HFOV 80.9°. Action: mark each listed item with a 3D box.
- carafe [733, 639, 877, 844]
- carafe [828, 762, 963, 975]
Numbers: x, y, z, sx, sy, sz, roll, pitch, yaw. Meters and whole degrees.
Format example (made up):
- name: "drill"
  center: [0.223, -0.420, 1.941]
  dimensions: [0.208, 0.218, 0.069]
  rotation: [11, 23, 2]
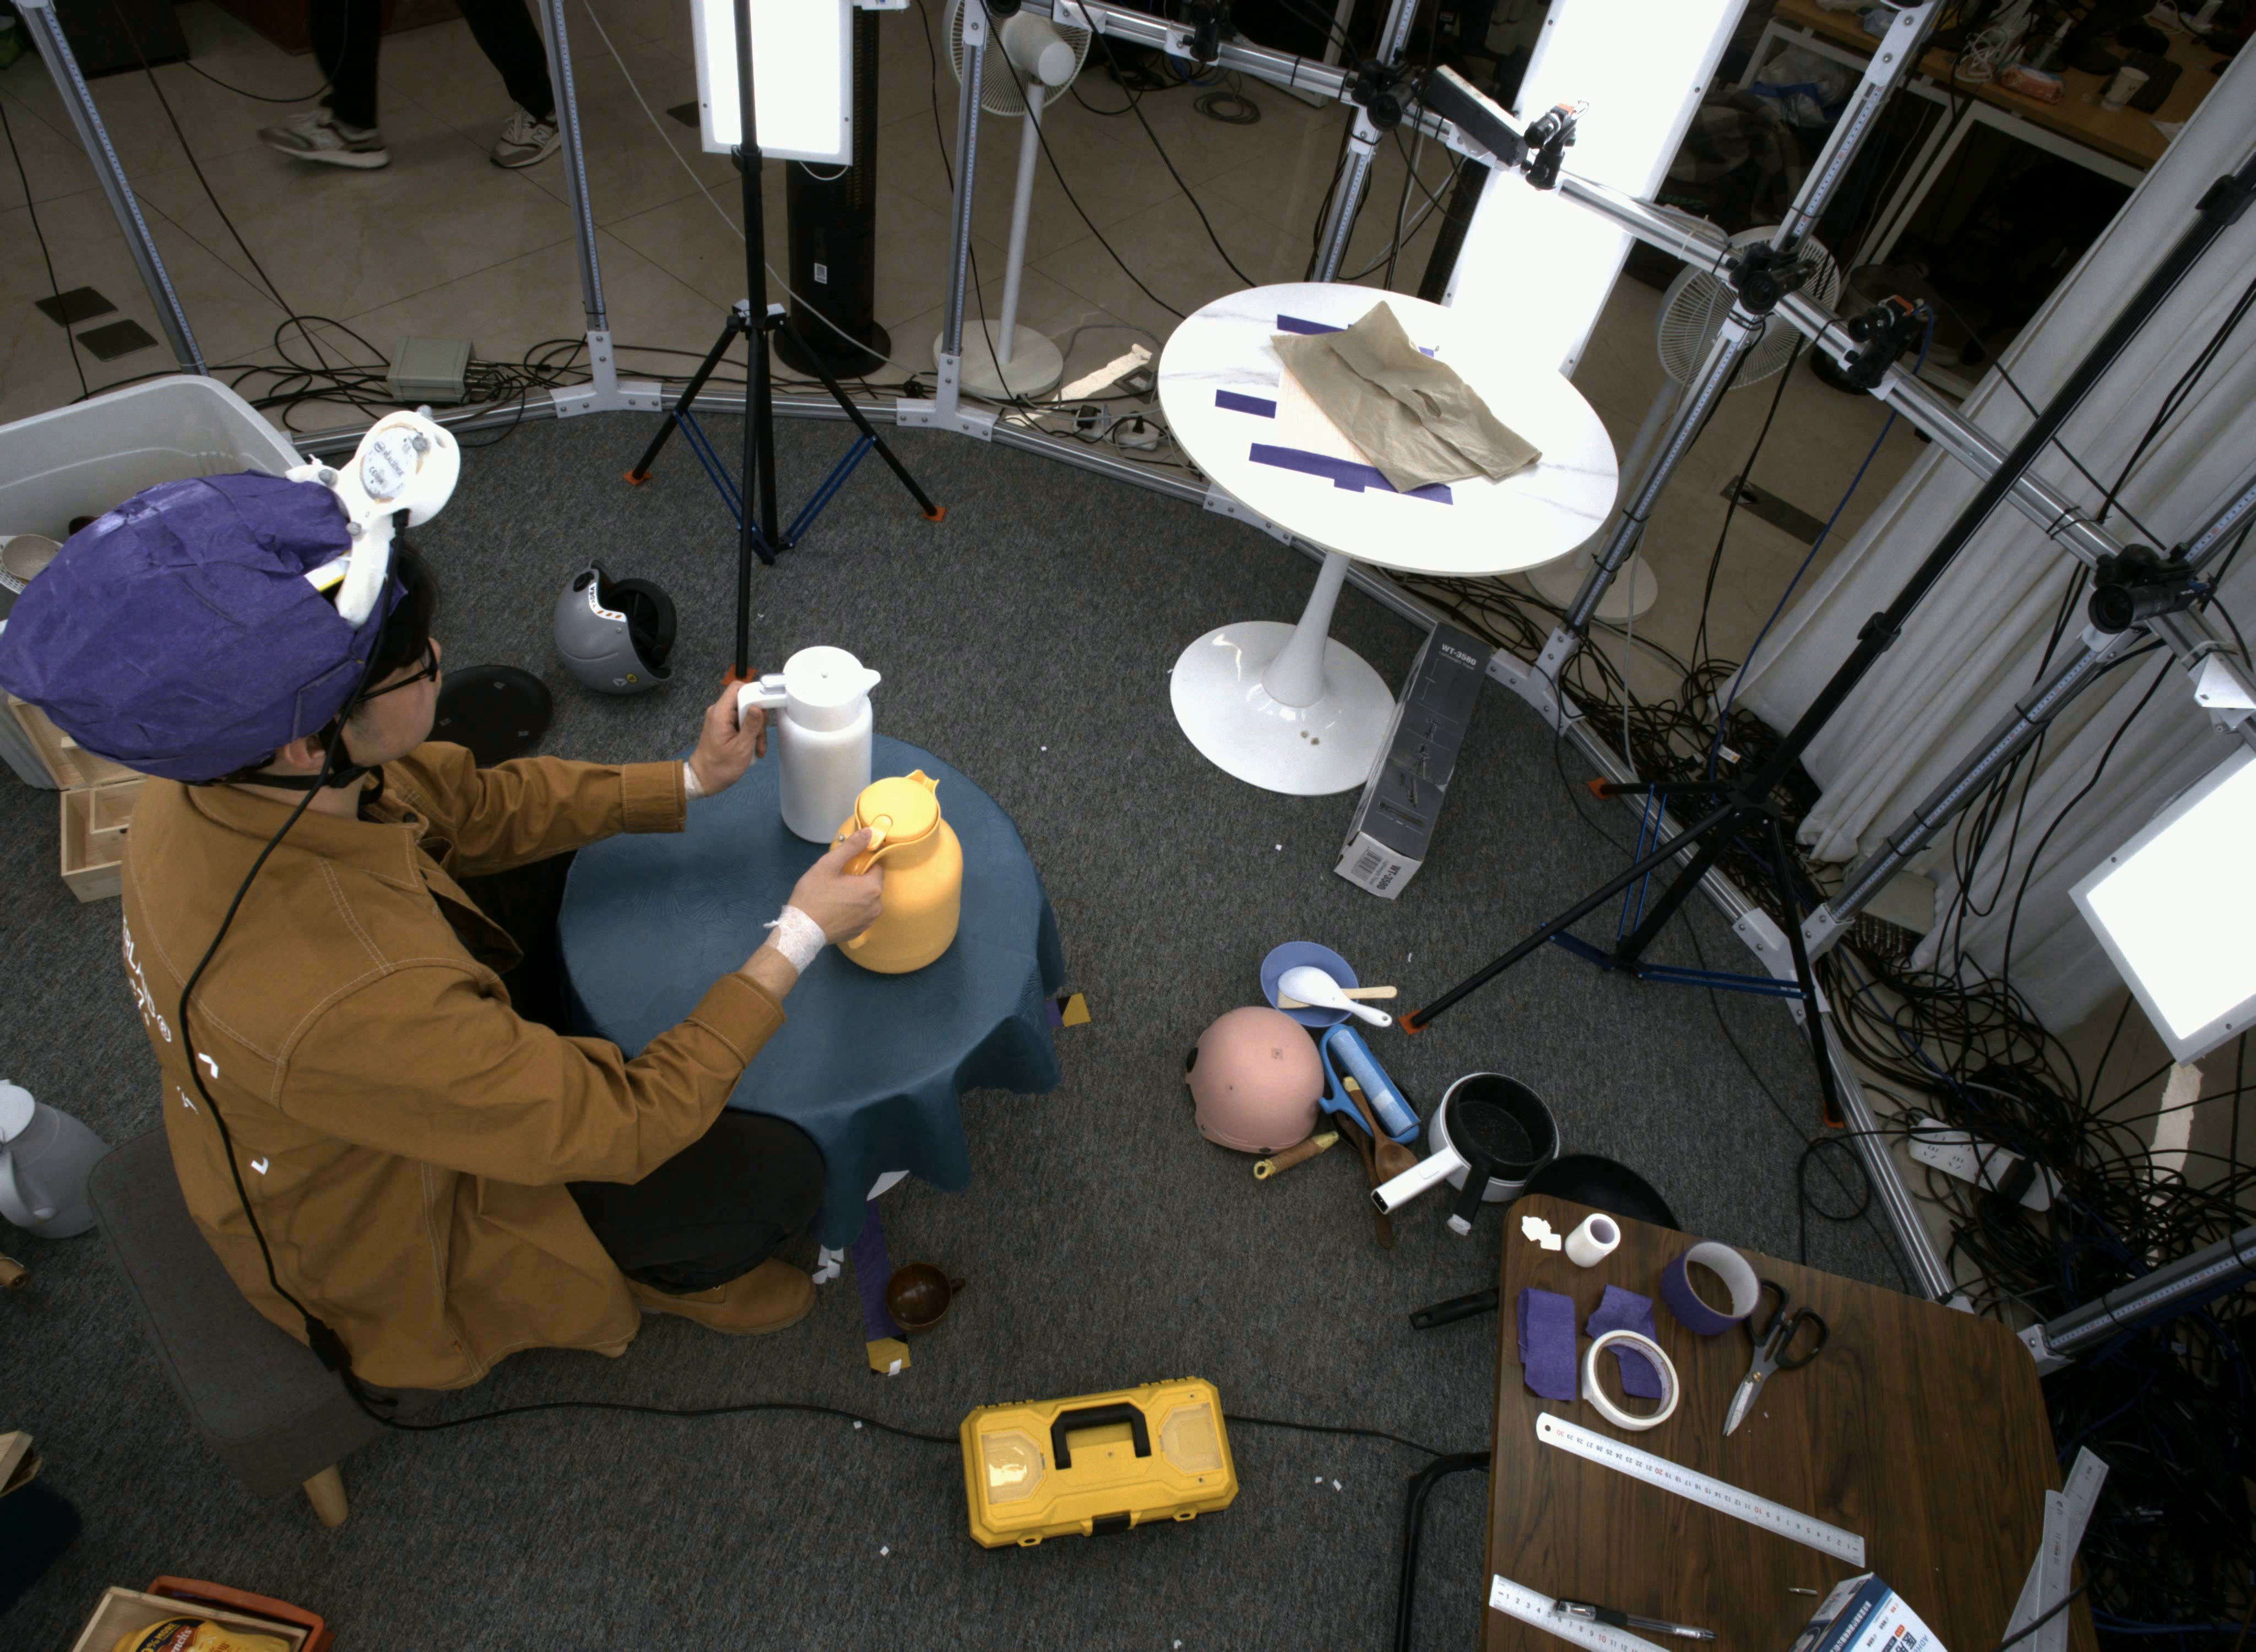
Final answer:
- name: "carafe"
  center: [-0.401, -0.100, 1.629]
  dimensions: [0.173, 0.274, 0.121]
  rotation: [-9, 56, -18]
- name: "carafe"
  center: [-0.287, 0.060, 1.542]
  dimensions: [0.160, 0.267, 0.201]
  rotation: [25, 51, 12]
